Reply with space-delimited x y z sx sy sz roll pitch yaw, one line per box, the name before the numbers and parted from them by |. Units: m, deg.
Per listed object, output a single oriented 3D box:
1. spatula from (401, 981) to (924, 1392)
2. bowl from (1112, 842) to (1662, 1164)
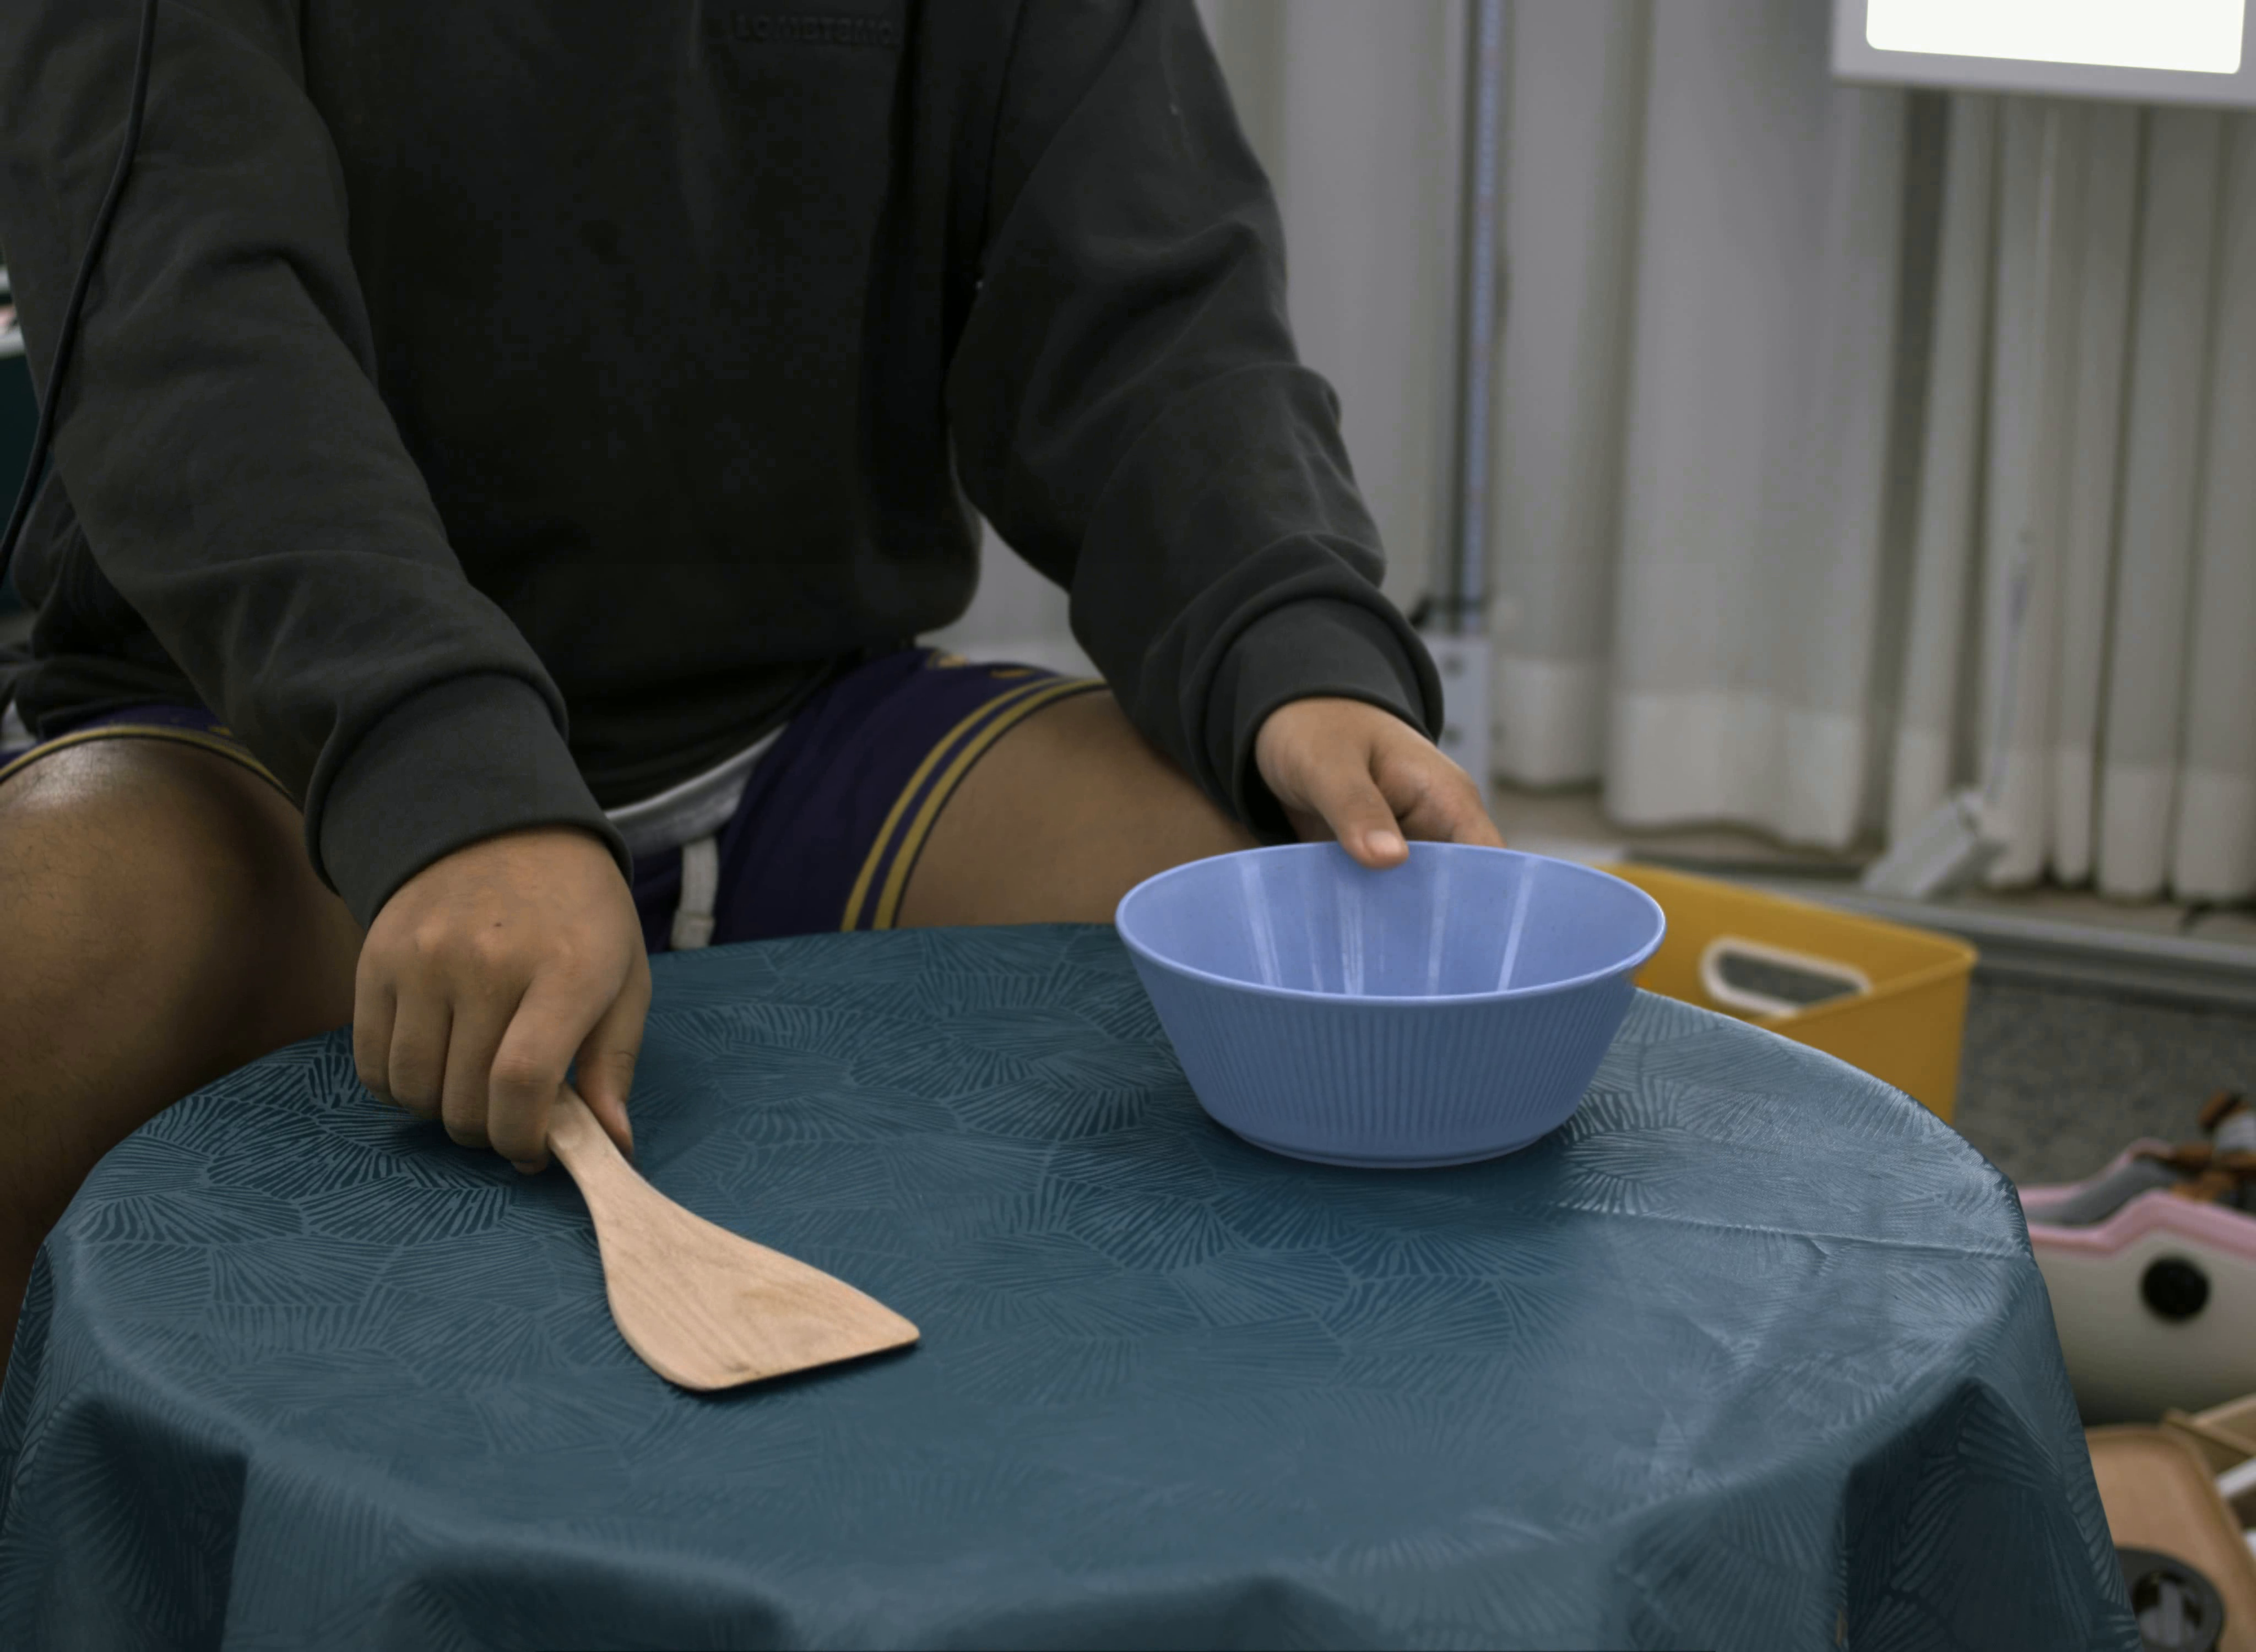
spatula | -0.157 0.103 1.595 0.080 0.016 0.323 -7 23 -26
bowl | 0.082 0.059 1.686 0.175 0.071 0.175 1 16 0
